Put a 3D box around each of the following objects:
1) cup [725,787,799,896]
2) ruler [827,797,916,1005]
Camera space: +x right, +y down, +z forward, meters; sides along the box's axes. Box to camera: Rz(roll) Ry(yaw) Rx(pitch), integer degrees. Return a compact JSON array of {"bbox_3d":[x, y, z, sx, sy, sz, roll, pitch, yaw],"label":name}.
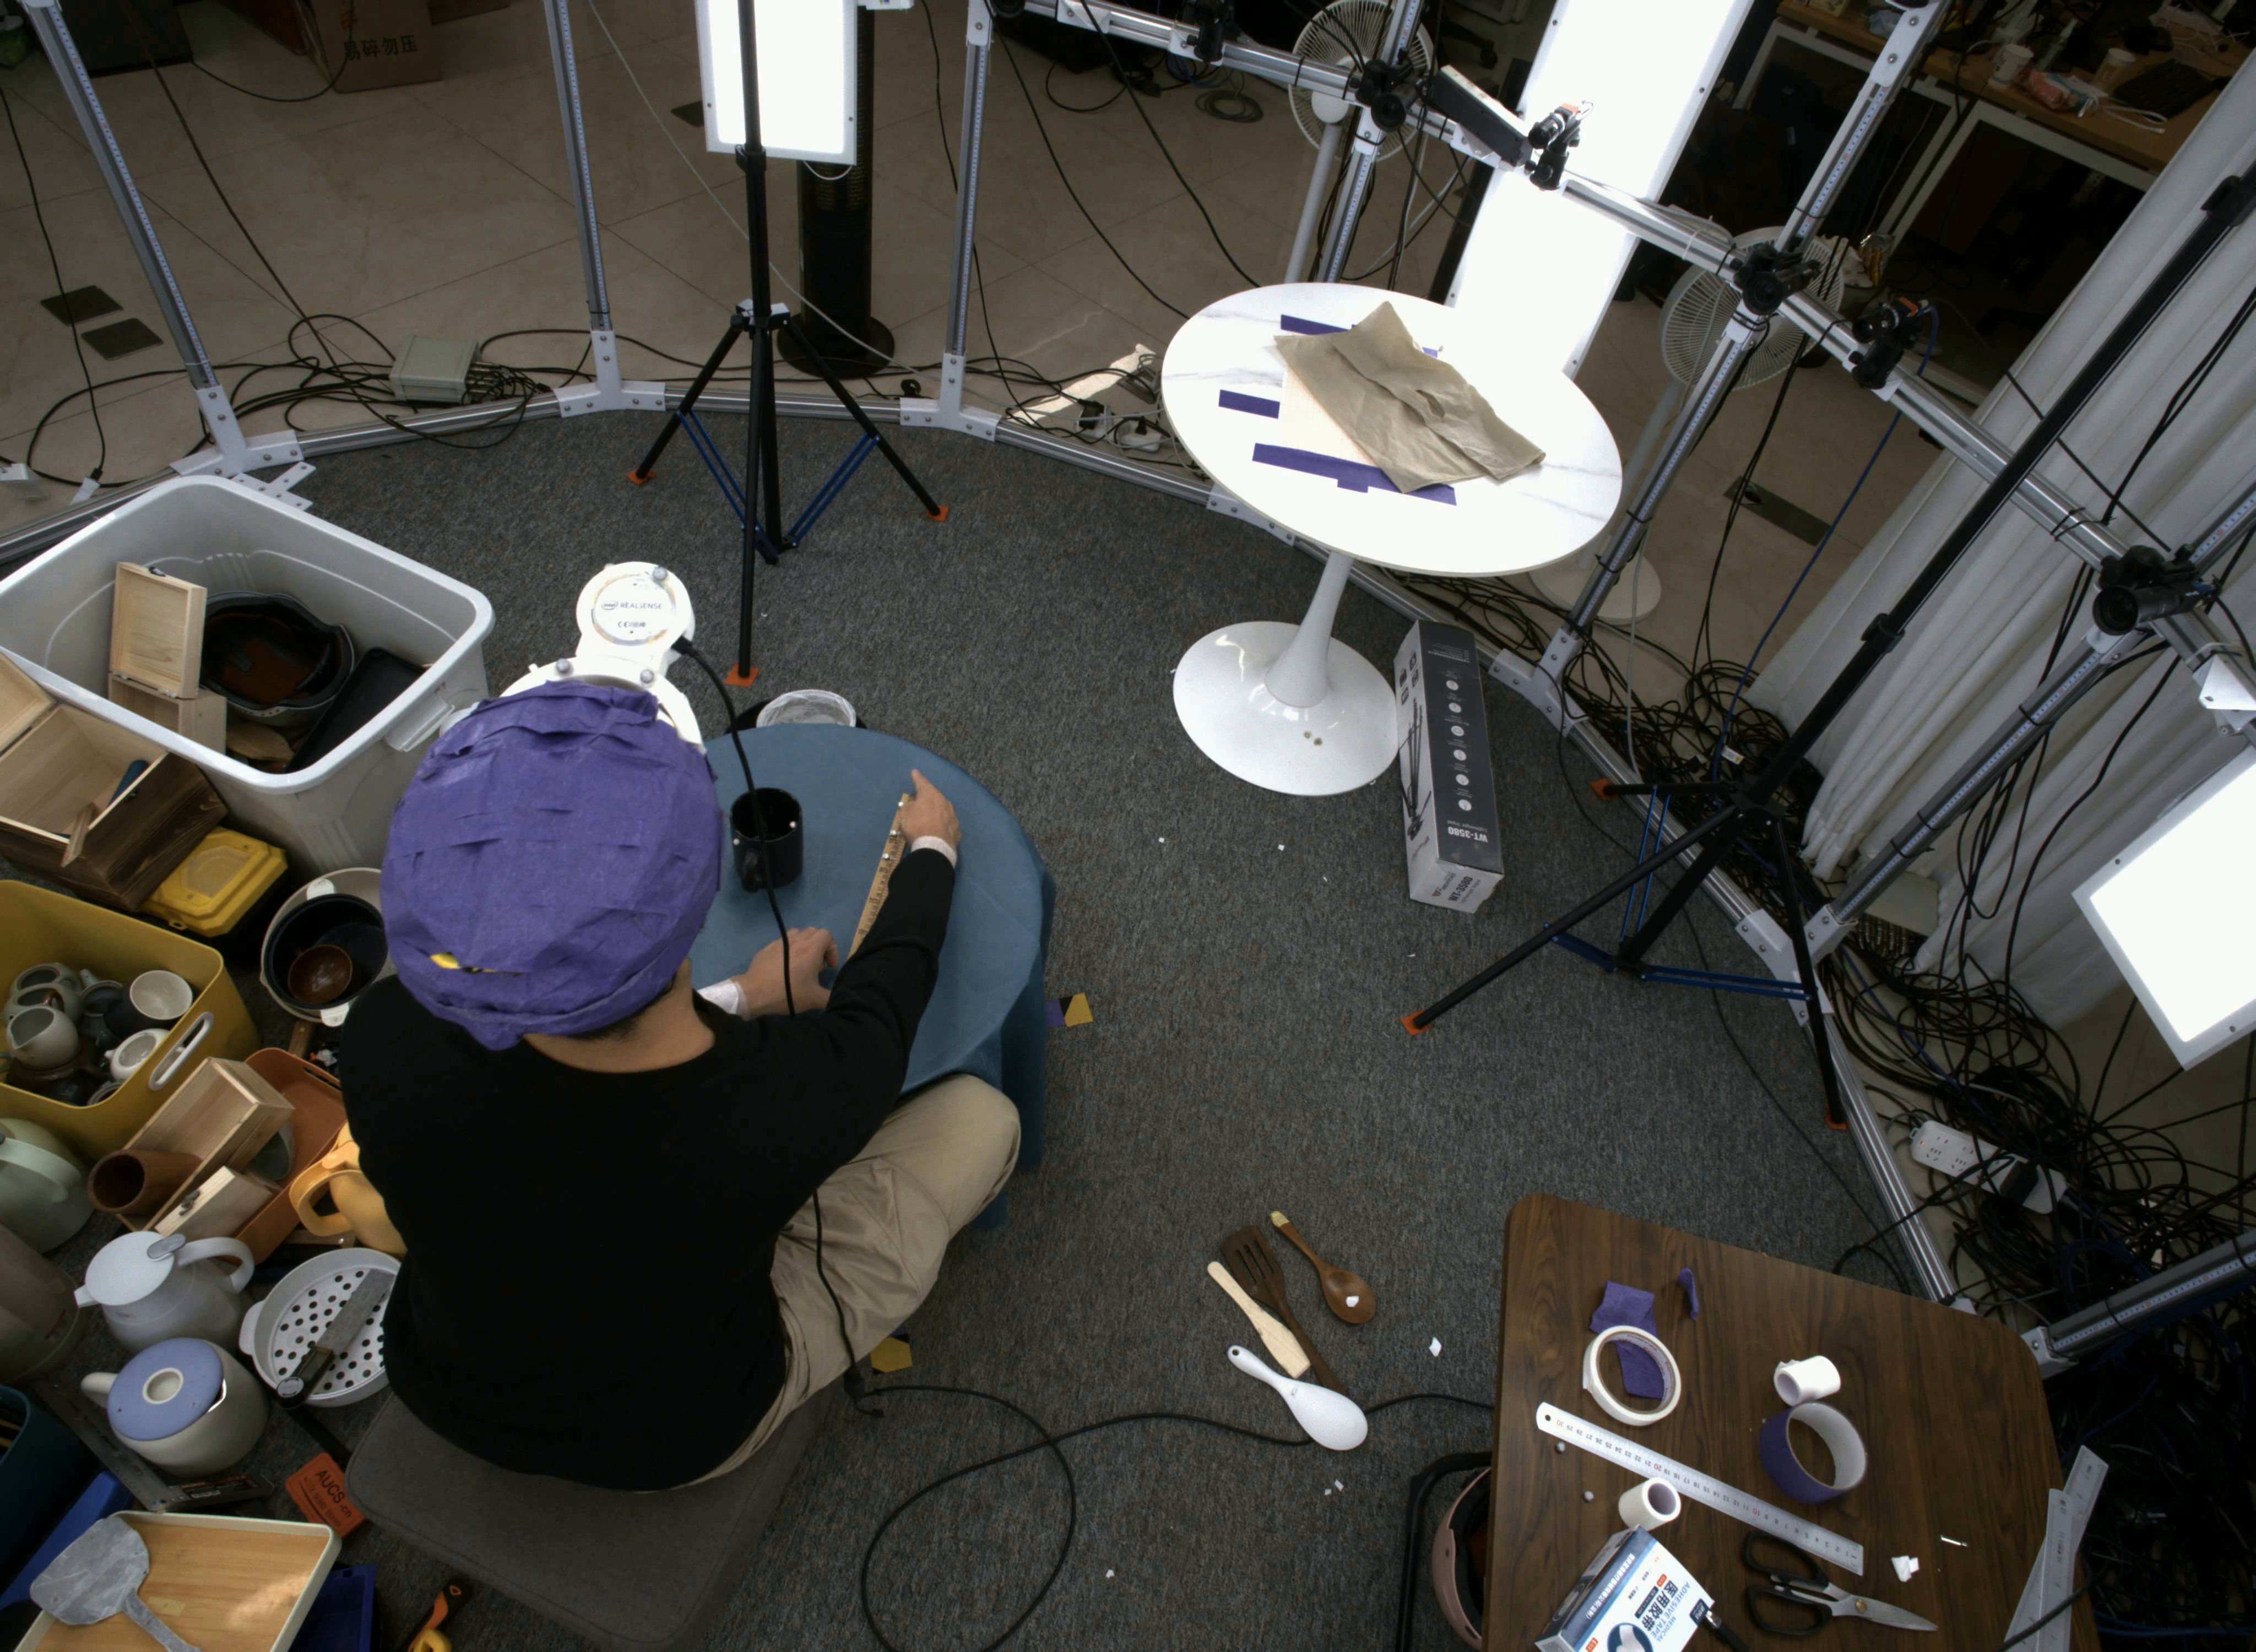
[{"bbox_3d":[-0.464,0.029,1.621,0.088,0.107,0.122,15,52,-3],"label":"cup"},{"bbox_3d":[-0.327,0.085,1.675,0.027,0.023,0.327,12,51,0],"label":"ruler"}]
